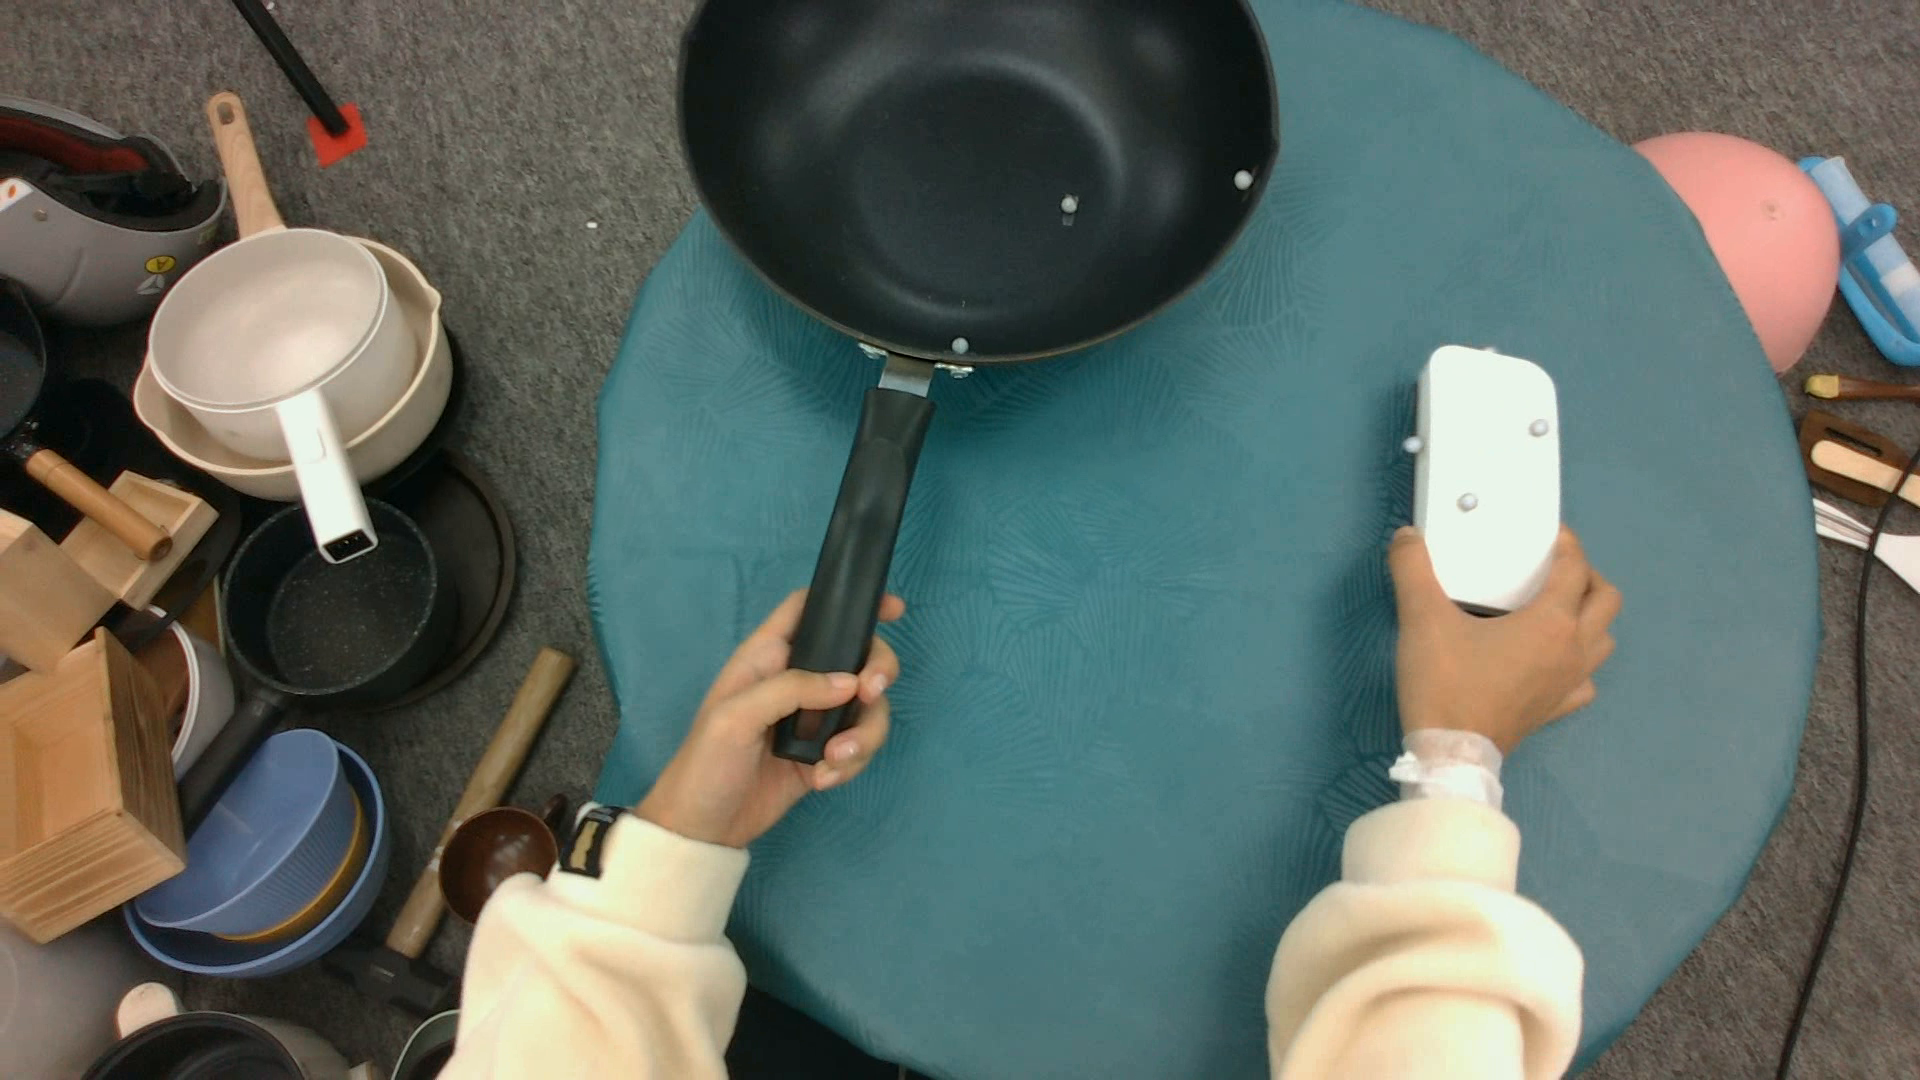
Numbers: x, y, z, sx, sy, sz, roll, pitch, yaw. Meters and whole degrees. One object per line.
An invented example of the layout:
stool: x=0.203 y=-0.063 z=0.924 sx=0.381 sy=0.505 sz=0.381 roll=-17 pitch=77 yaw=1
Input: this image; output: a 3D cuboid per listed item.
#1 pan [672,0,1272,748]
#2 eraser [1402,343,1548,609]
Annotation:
pan: x=-0.017 y=-0.121 z=0.660 sx=0.288 sy=0.086 sz=0.464 roll=14 pitch=73 yaw=4
eraser: x=0.244 y=-0.033 z=0.657 sx=0.063 sy=0.034 sz=0.132 roll=11 pitch=68 yaw=0
